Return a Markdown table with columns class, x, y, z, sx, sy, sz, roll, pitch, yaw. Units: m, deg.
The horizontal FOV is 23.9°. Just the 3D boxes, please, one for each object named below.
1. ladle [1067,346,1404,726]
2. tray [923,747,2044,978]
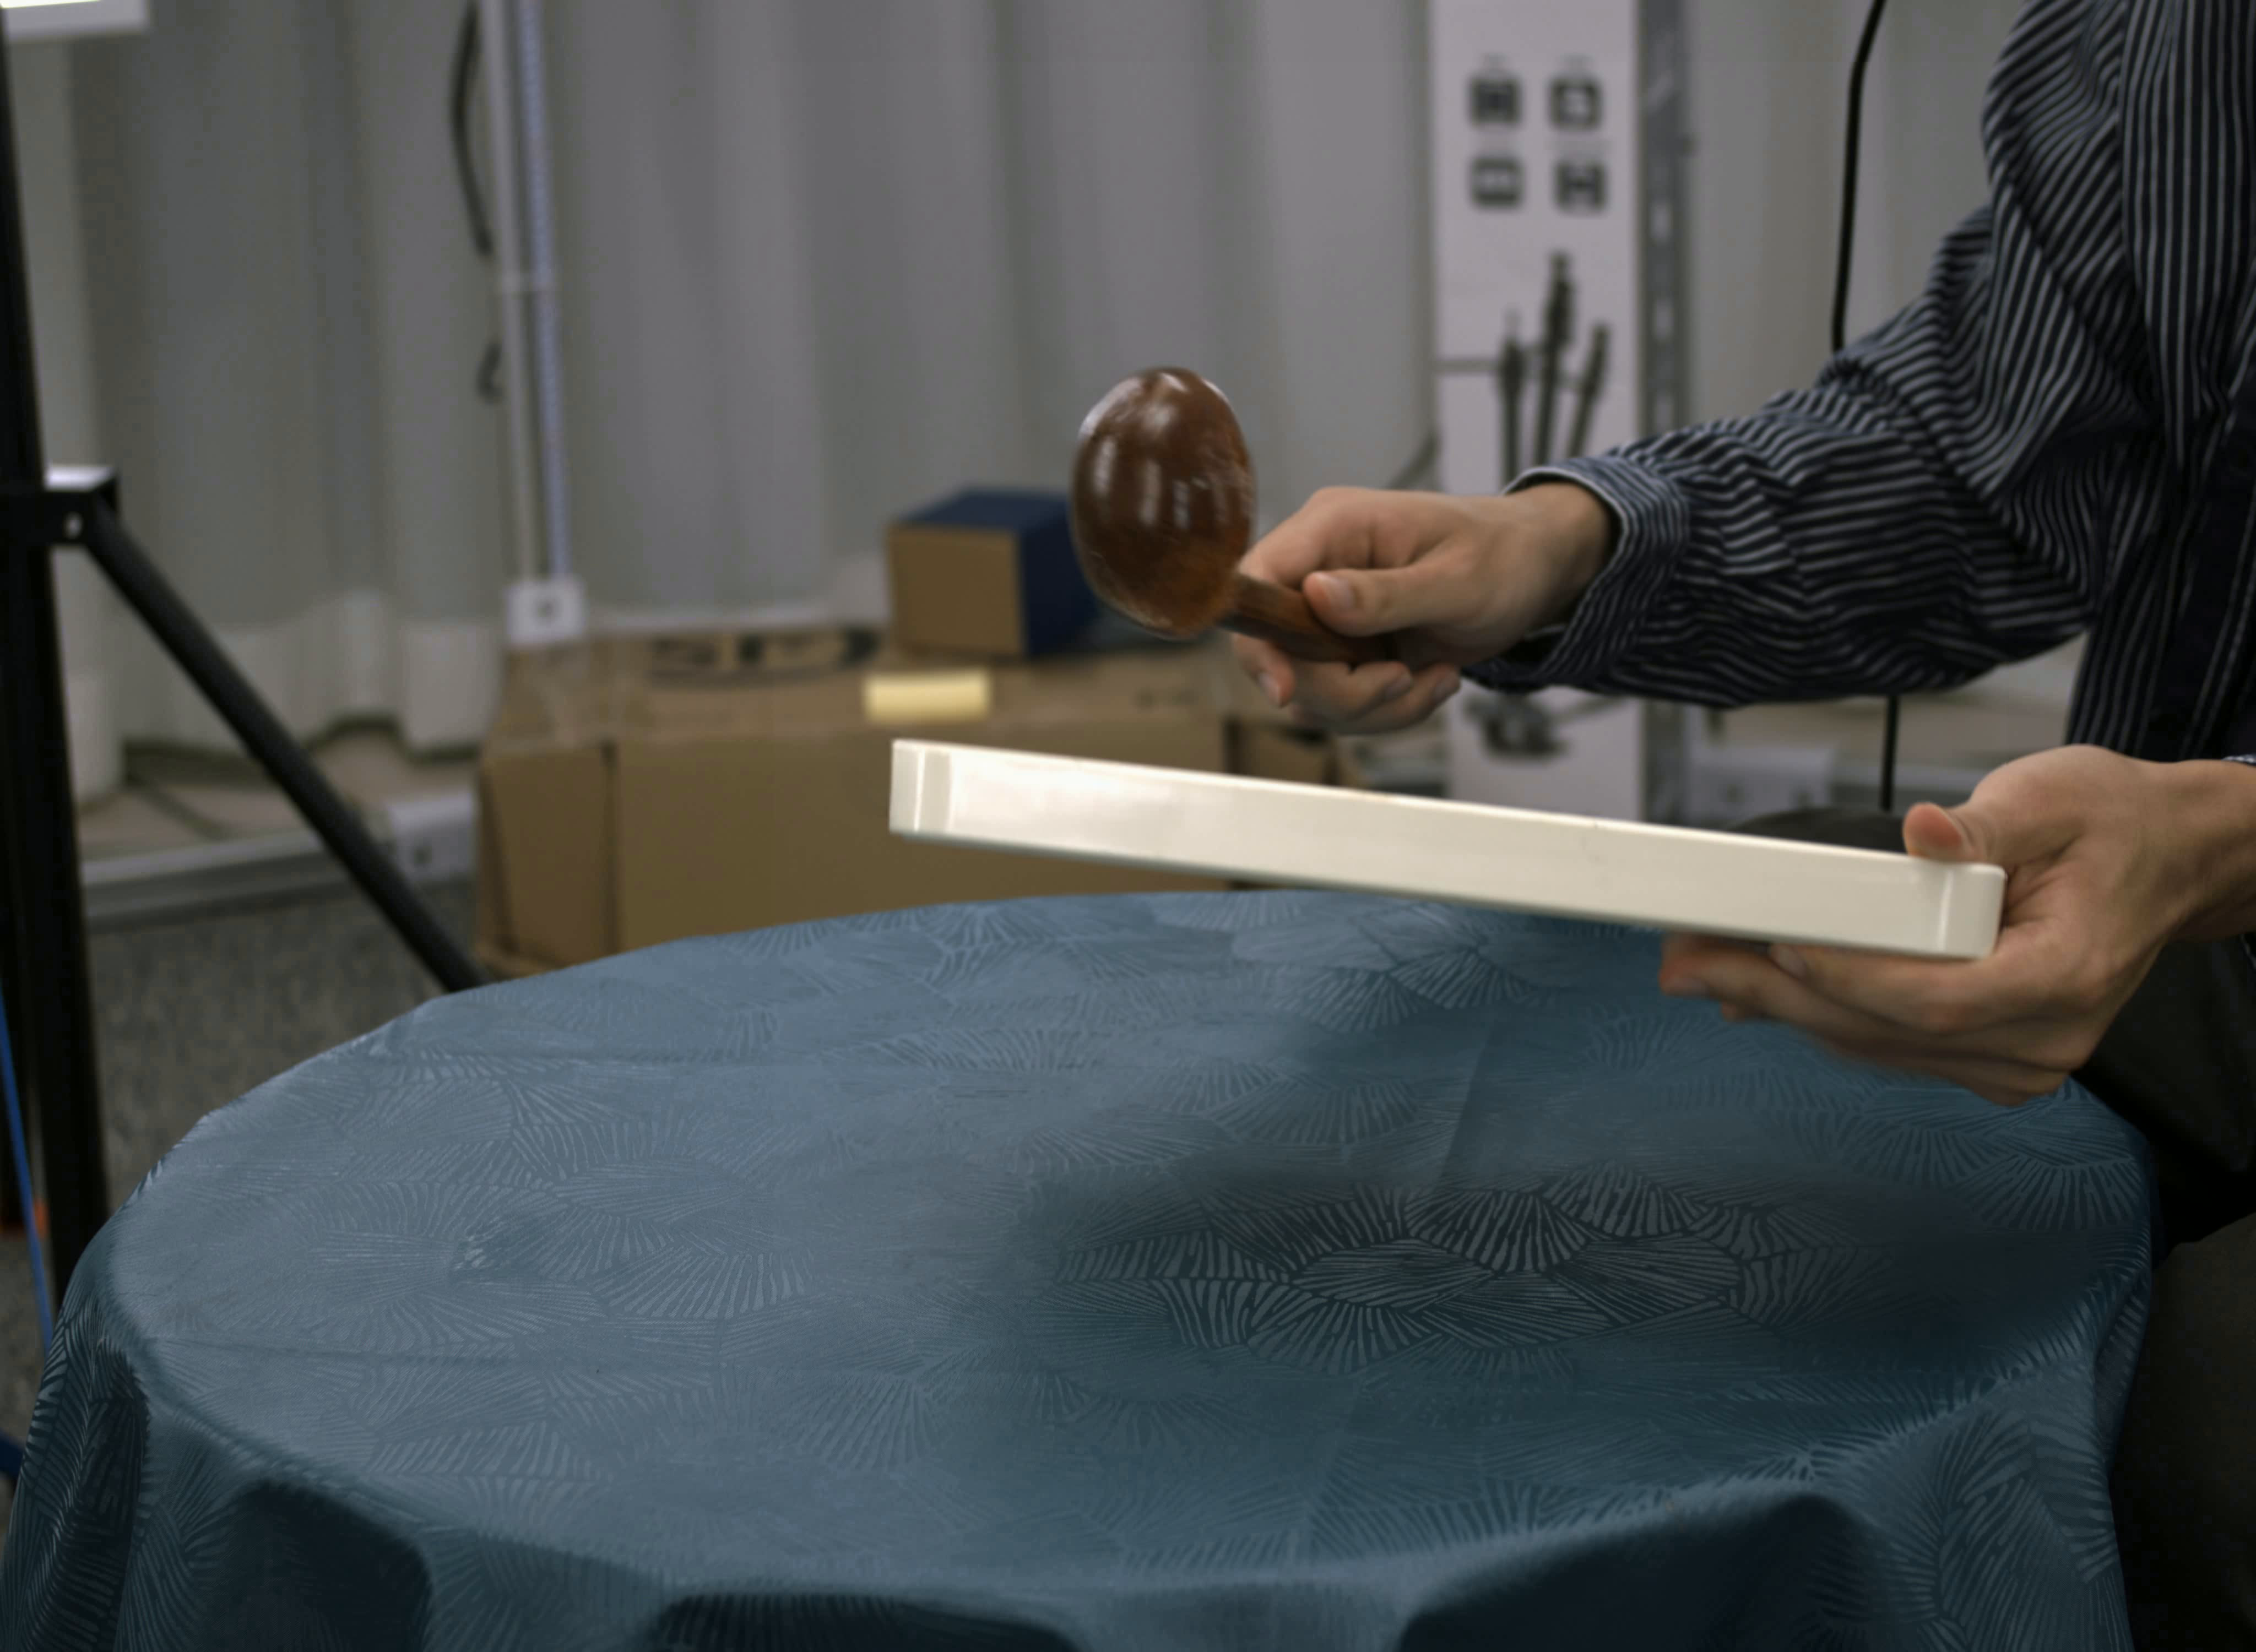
| class | x | y | z | sx | sy | sz | roll | pitch | yaw |
| --- | --- | --- | --- | --- | --- | --- | --- | --- | --- |
| ladle | 0.055 | -0.080 | 1.656 | 0.077 | 0.083 | 0.268 | -14 | -17 | 25 |
| tray | 0.104 | 0.012 | 1.480 | 0.302 | 0.027 | 0.189 | 7 | 0 | 12 |
